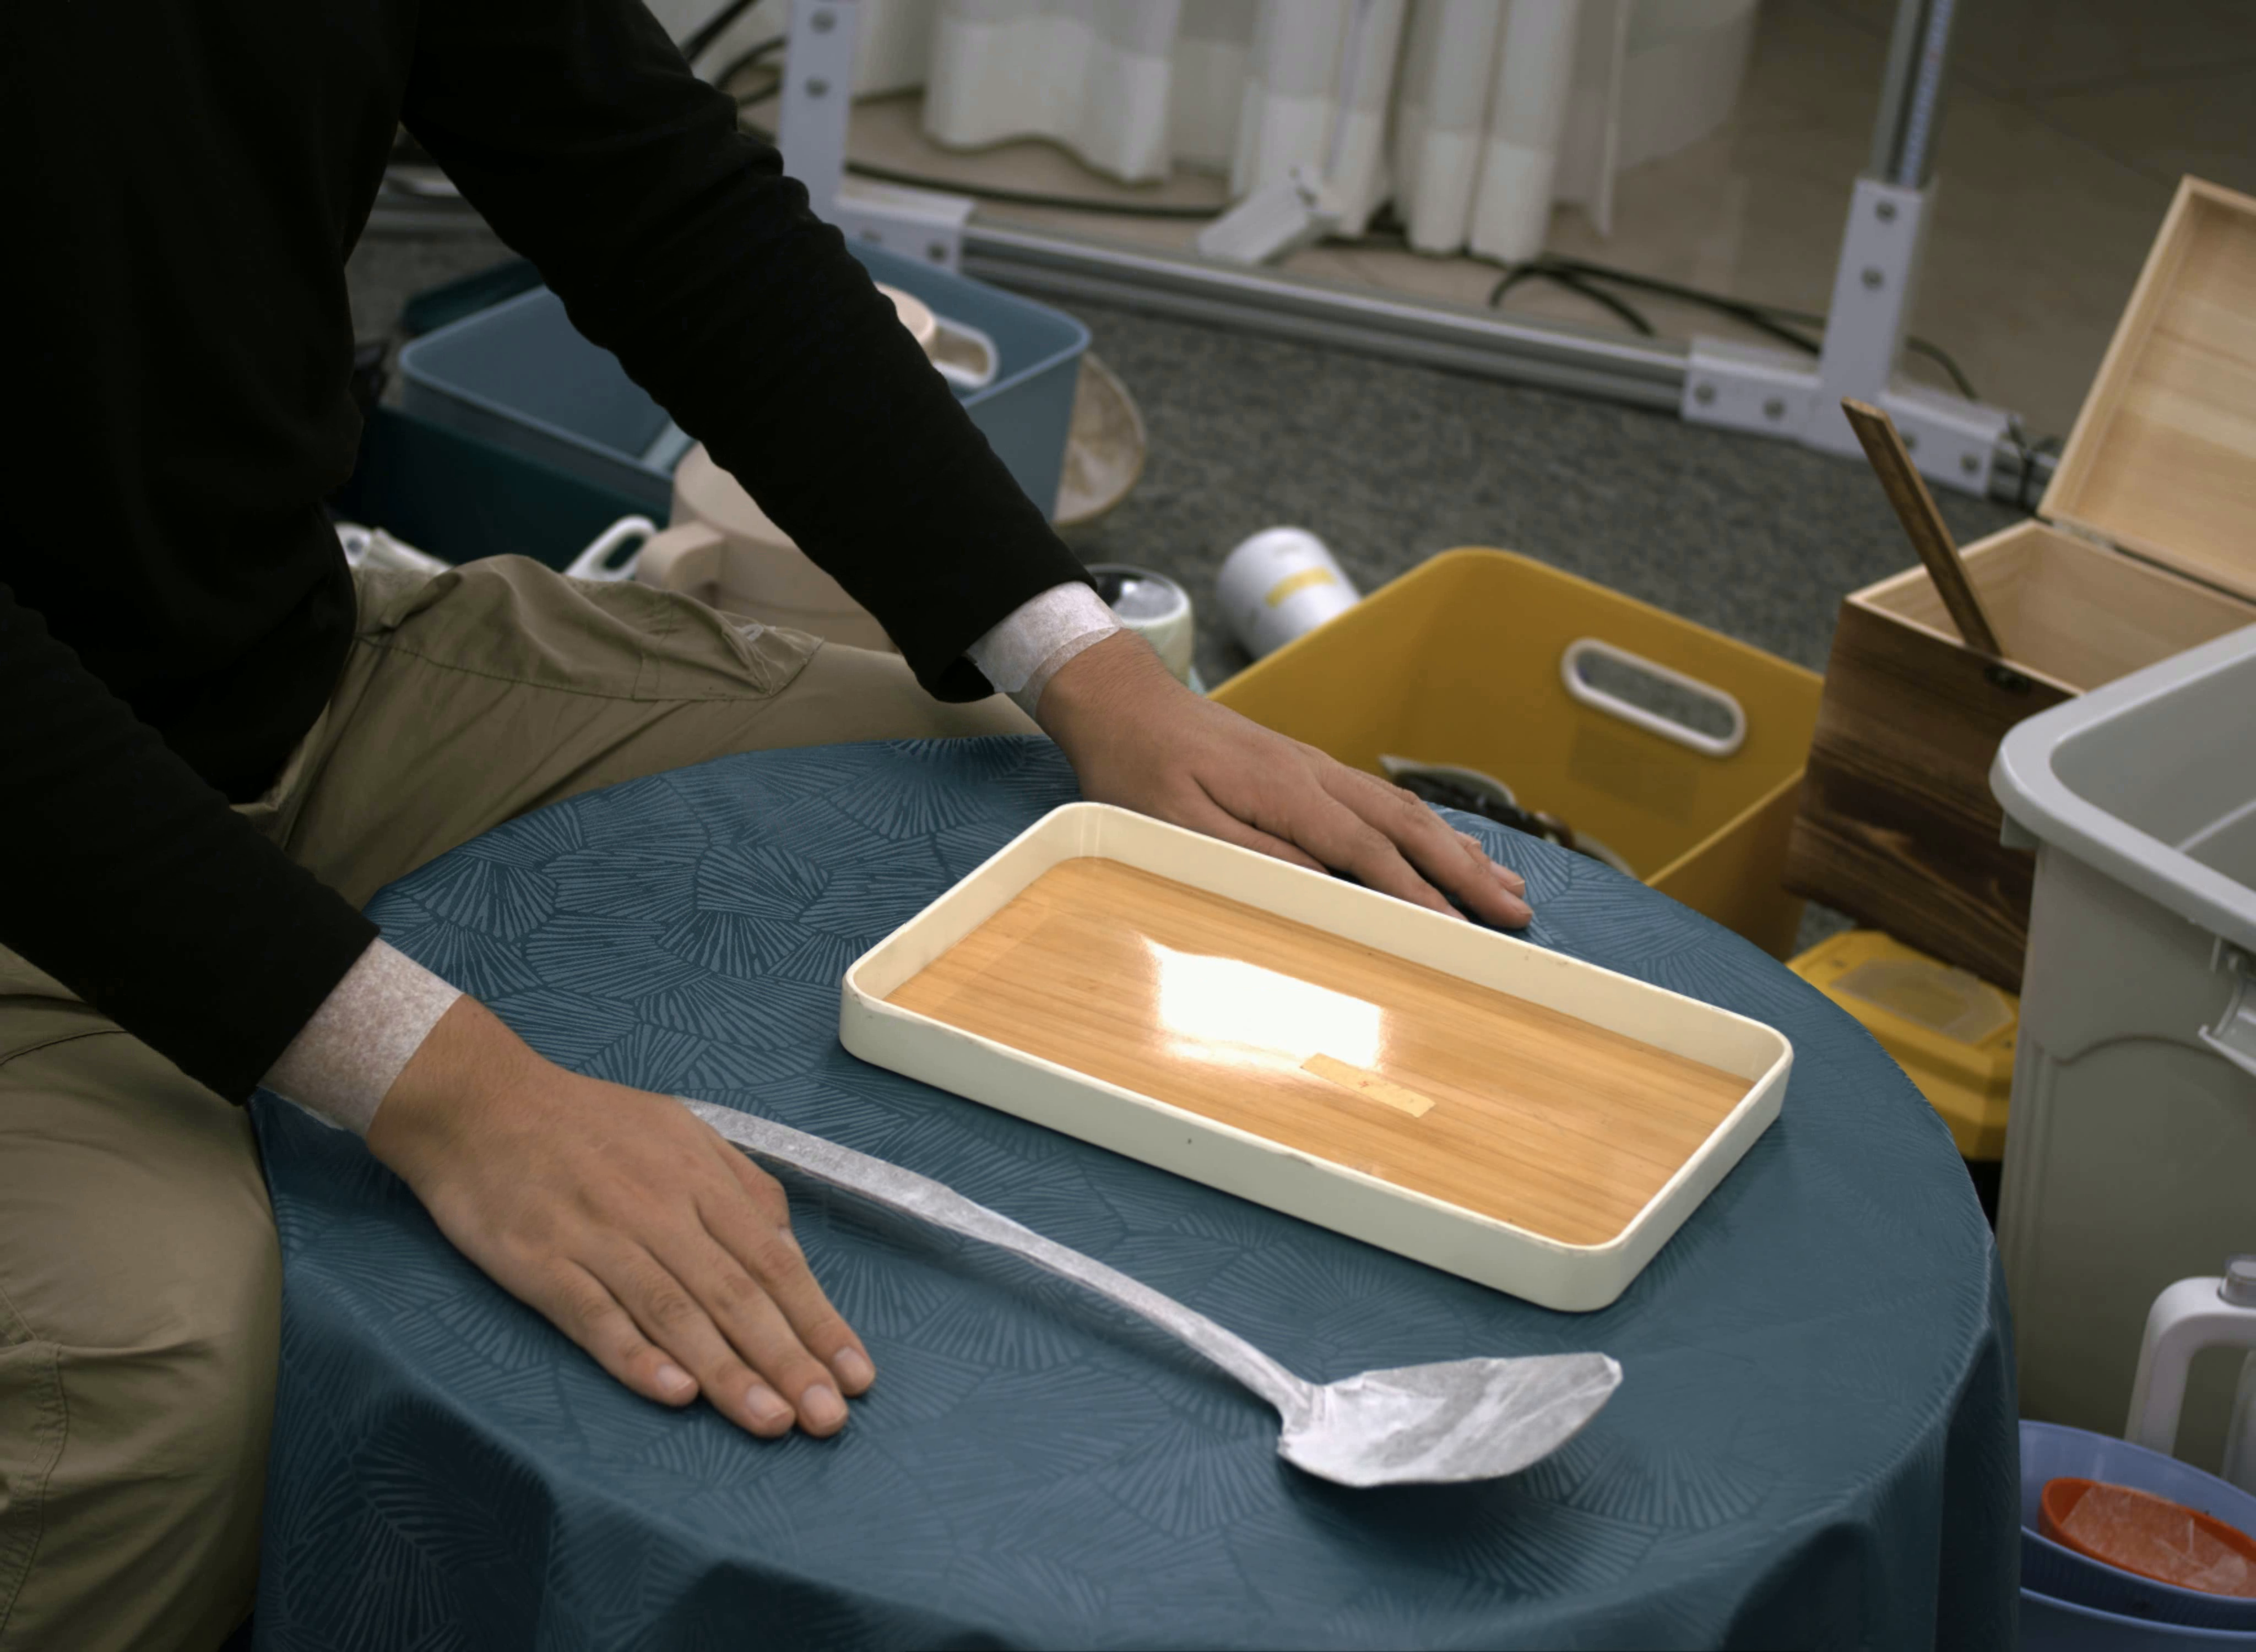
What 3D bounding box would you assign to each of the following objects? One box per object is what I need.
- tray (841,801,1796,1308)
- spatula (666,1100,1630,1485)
[{"bbox_3d":[0.067,0.076,1.880,0.301,0.027,0.191,19,29,23],"label":"tray"},{"bbox_3d":[-0.011,0.142,1.722,0.367,0.044,0.098,22,31,27],"label":"spatula"}]
